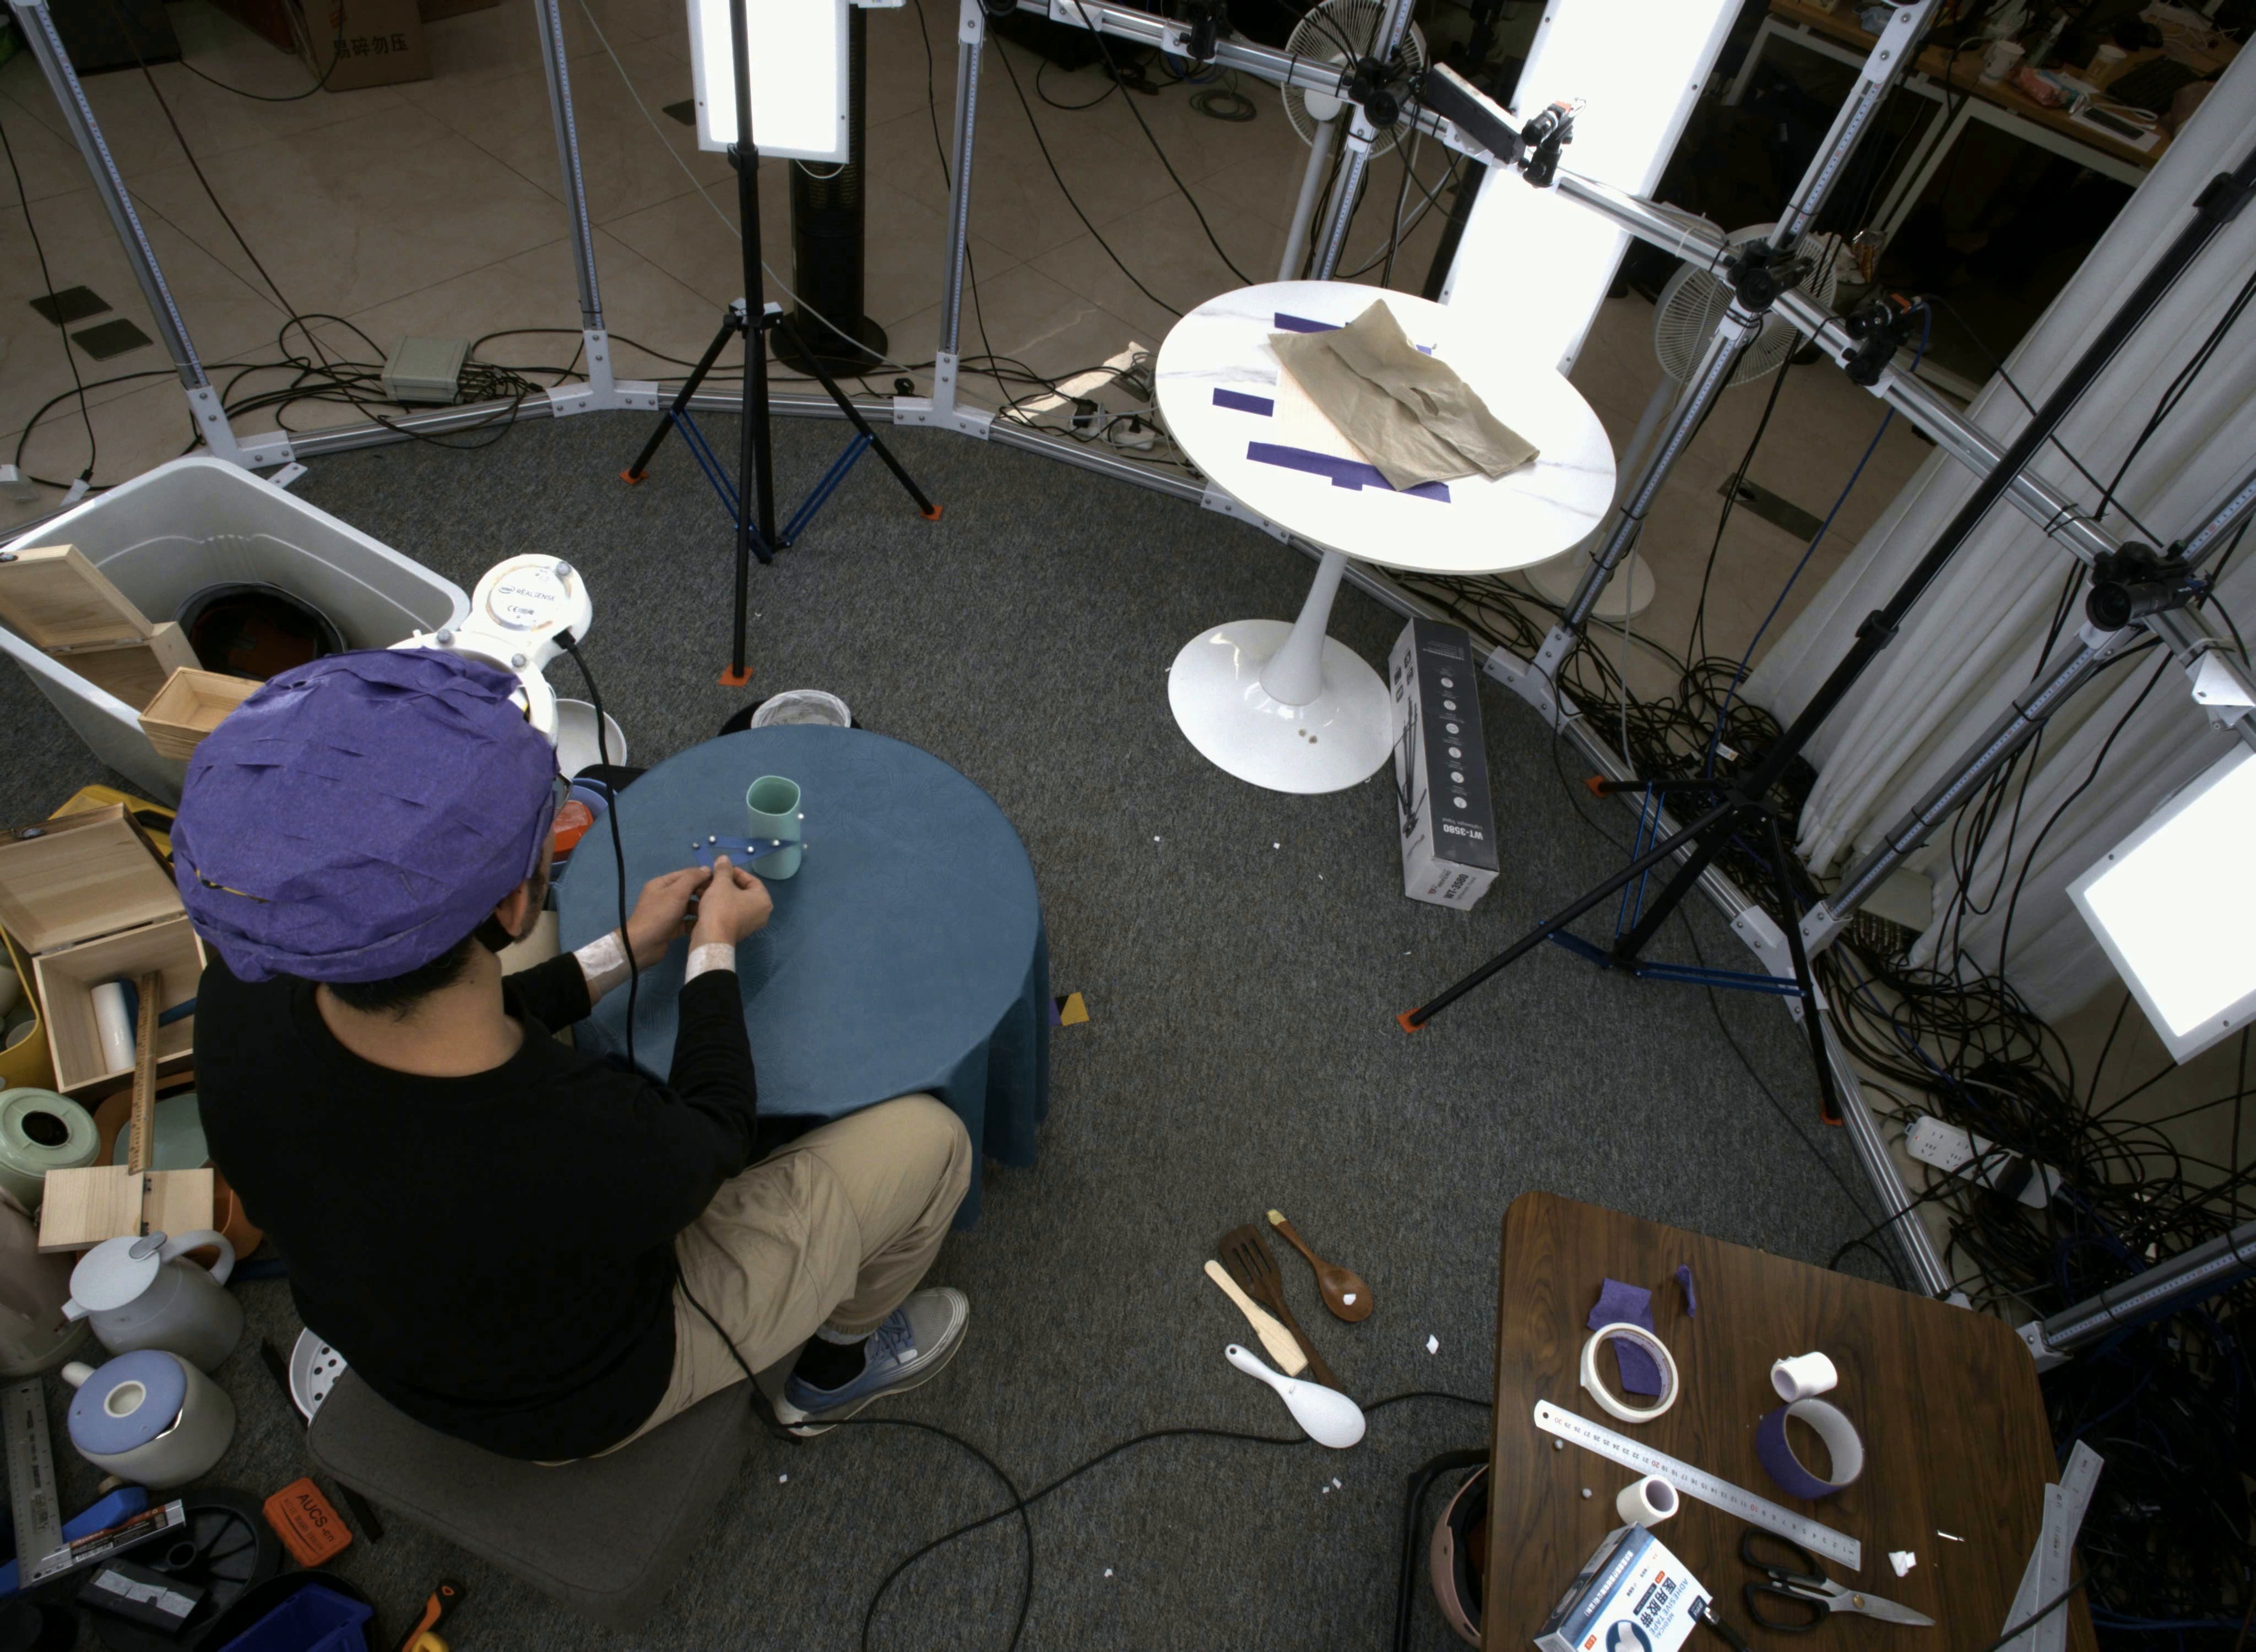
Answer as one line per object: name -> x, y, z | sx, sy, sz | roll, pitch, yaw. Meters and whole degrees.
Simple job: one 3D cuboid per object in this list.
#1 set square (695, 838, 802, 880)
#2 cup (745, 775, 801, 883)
set square -> -0.465, 0.042, 1.567 | 0.132, 0.007, 0.060 | 8, 53, -10
cup -> -0.445, 0.005, 1.628 | 0.066, 0.135, 0.065 | 7, 48, -7
